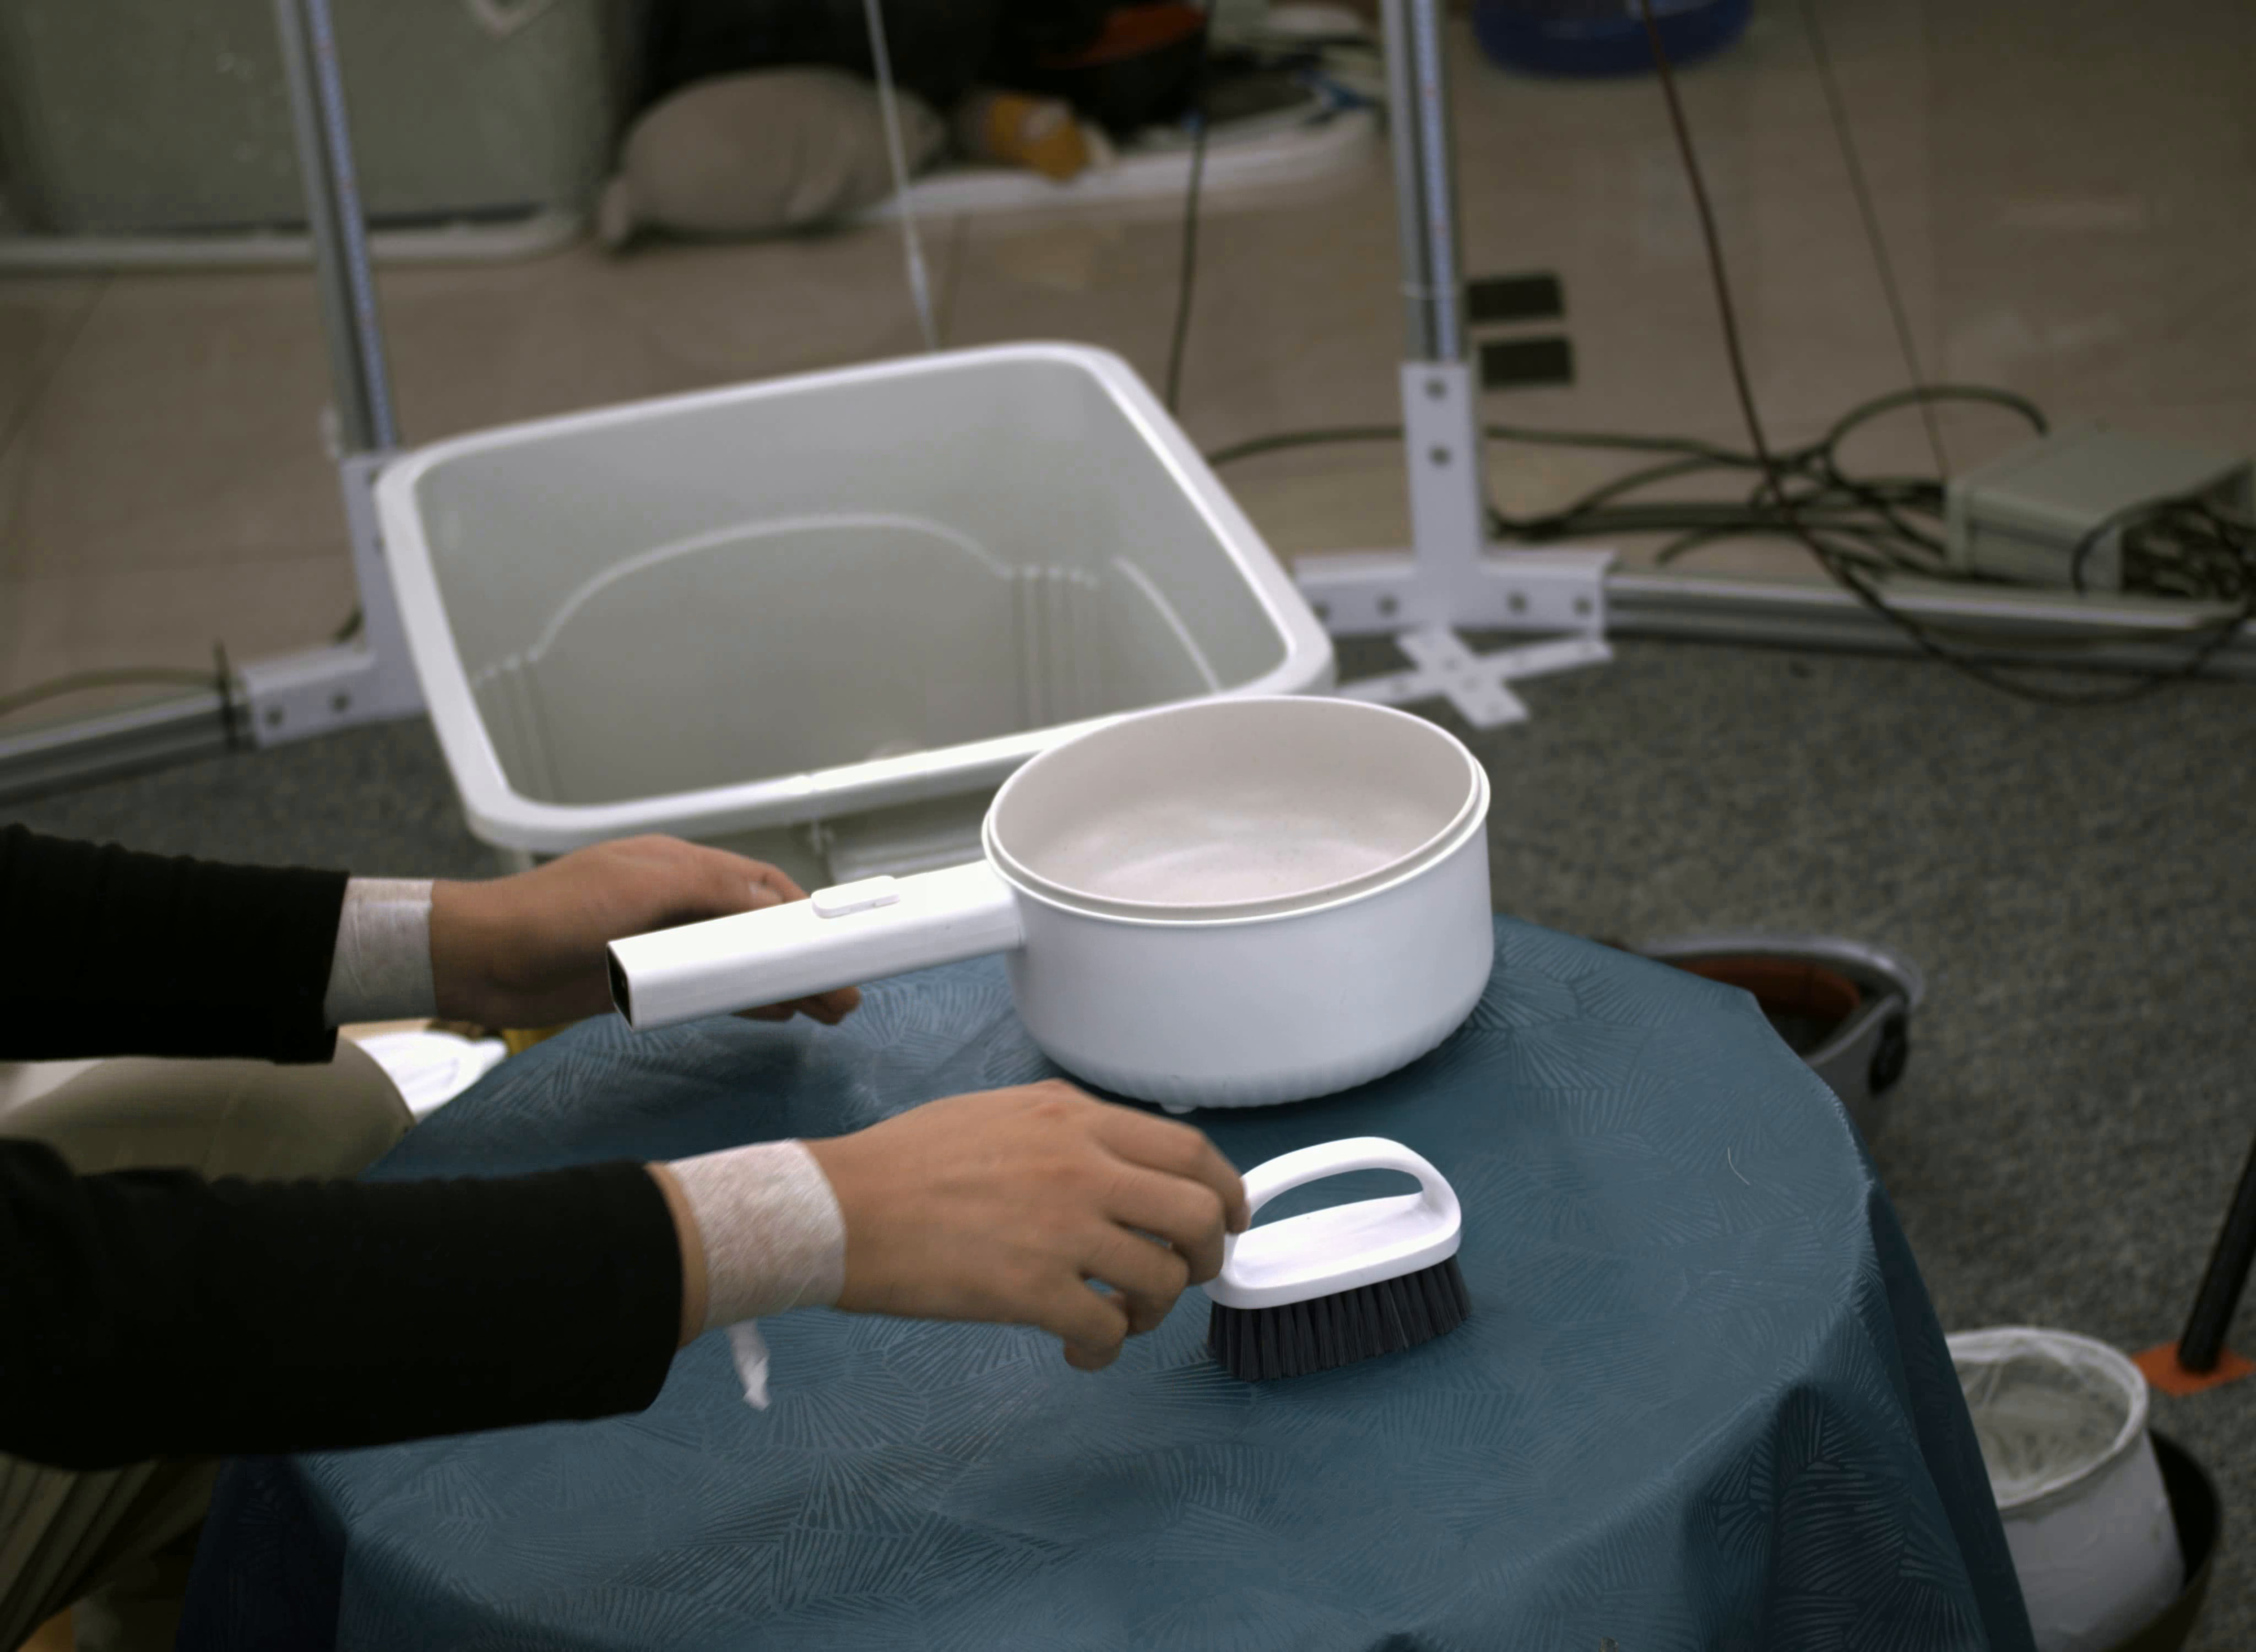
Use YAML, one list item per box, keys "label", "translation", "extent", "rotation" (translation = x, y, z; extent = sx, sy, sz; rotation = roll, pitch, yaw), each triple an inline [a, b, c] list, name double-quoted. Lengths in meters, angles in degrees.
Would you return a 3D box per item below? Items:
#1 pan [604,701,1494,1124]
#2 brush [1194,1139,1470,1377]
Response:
- label: "pan"
  translation: [-0.026, 0.055, 2.223]
  extent: [0.353, 0.104, 0.198]
  rotation: [-14, 28, -15]
- label: "brush"
  translation: [0.071, 0.148, 2.023]
  extent: [0.099, 0.073, 0.049]
  rotation: [-13, 26, -14]
